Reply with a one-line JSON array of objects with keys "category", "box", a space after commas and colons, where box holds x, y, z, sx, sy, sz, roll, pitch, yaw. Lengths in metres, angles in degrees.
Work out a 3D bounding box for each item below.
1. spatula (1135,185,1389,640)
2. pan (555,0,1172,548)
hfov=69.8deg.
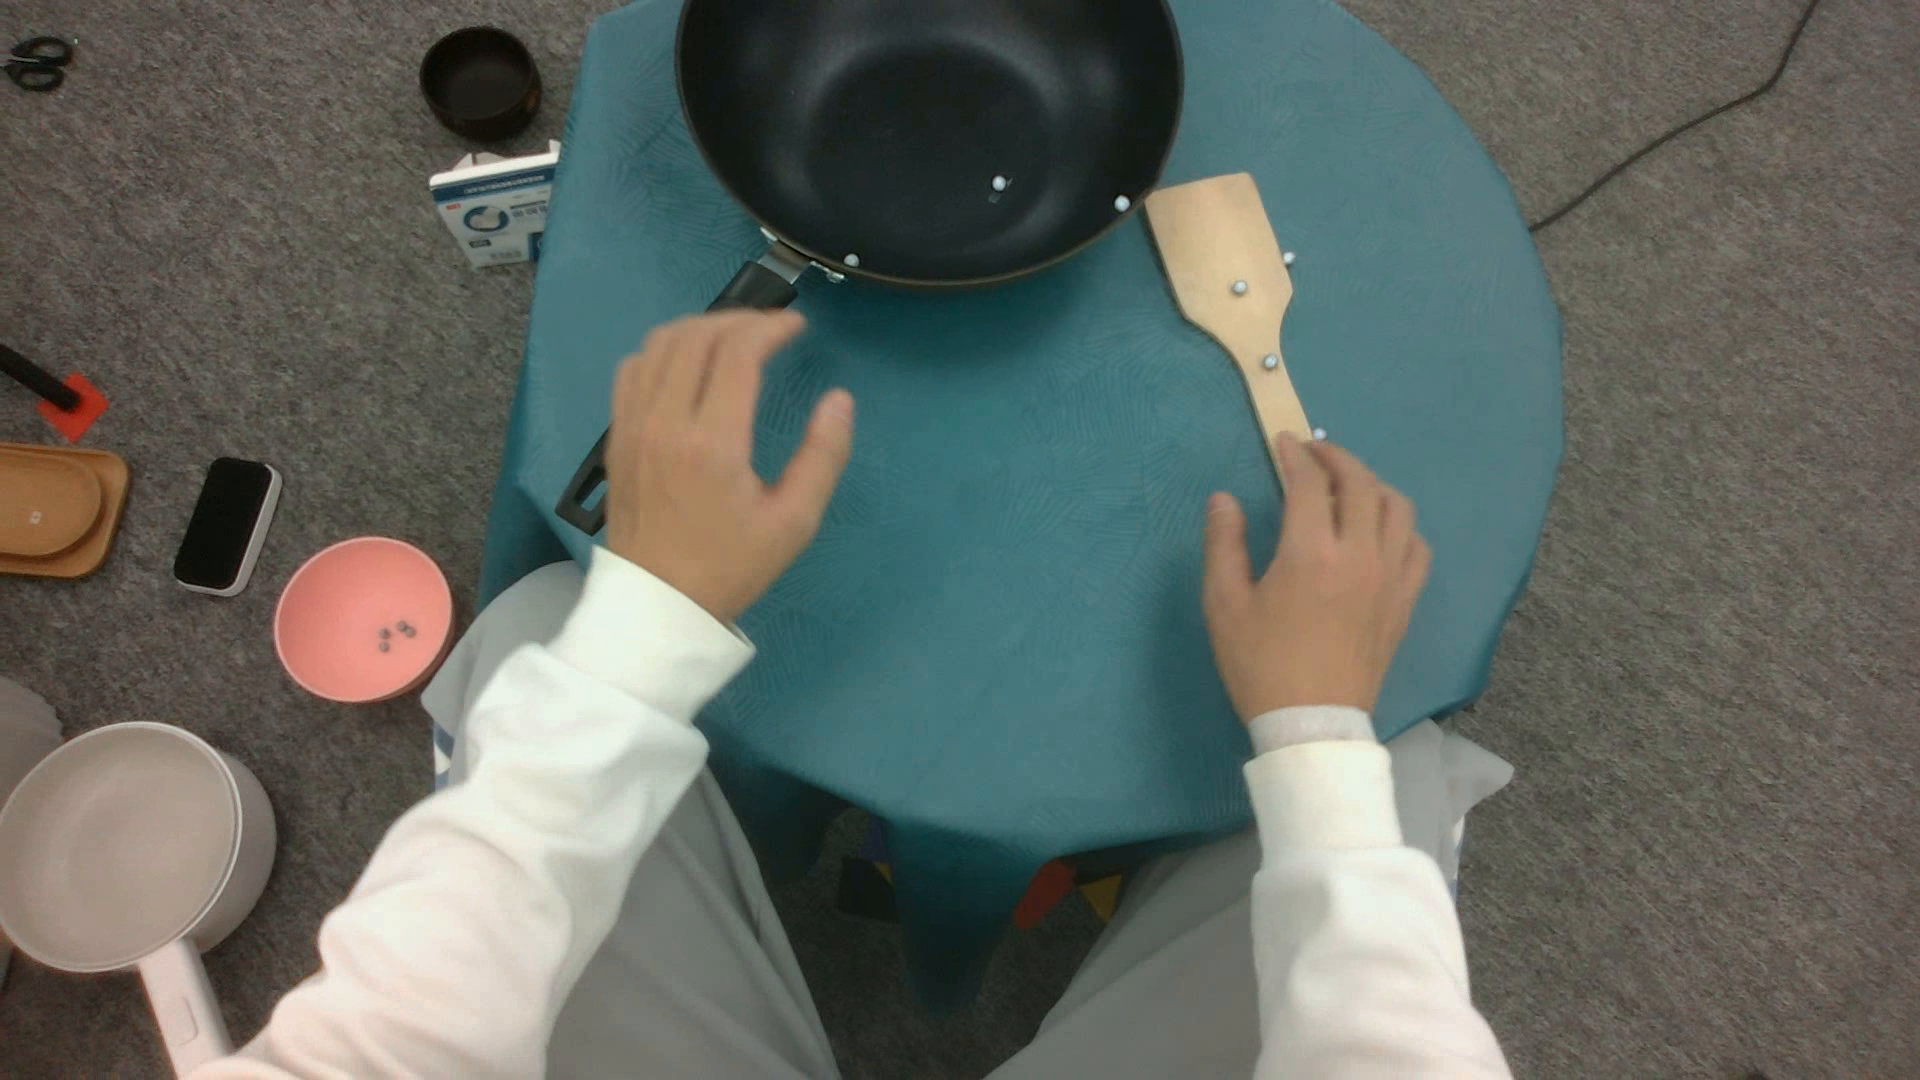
[{"category": "spatula", "box": [0.182, -0.079, 0.799, 0.072, 0.010, 0.293, -16, 72, -8]}, {"category": "pan", "box": [-0.068, -0.175, 0.788, 0.288, 0.086, 0.464, 30, 74, 9]}]
